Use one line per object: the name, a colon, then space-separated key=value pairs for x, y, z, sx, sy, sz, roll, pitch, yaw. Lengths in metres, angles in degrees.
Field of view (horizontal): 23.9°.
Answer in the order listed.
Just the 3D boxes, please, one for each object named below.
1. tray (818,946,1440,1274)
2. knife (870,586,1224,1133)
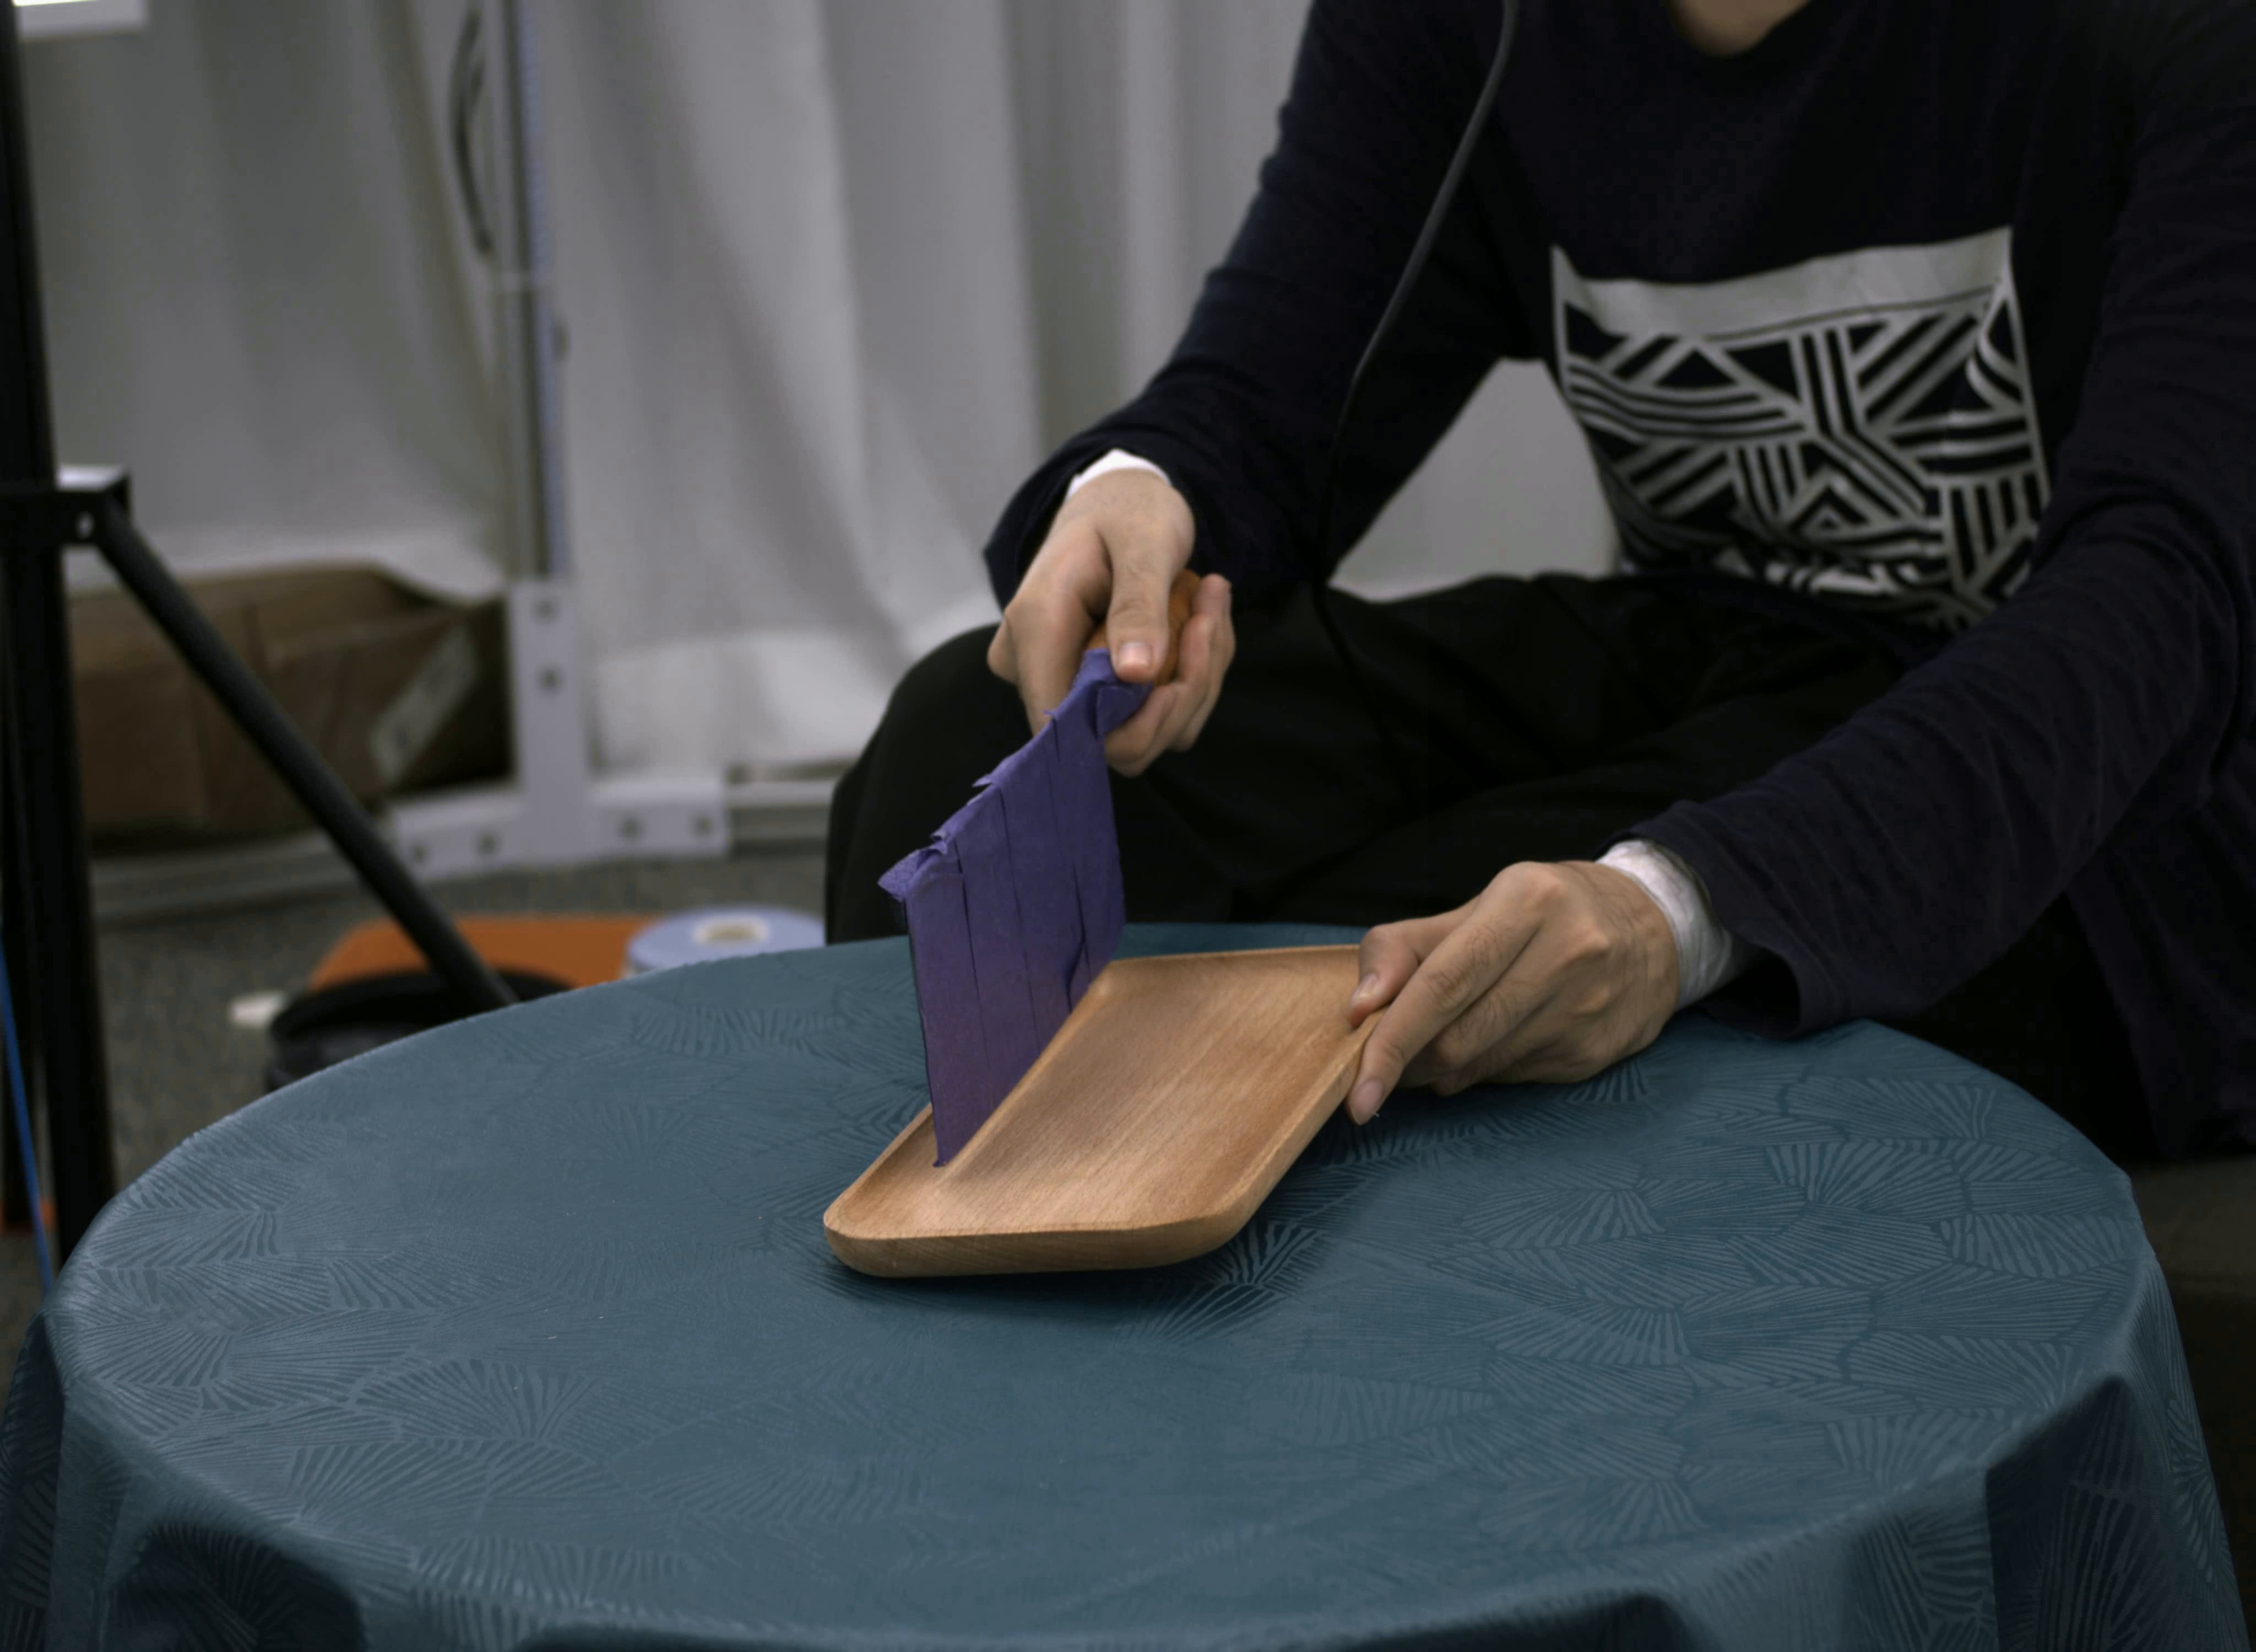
tray: x=0.005 y=0.083 z=1.586 sx=0.132 sy=0.023 sz=0.247 roll=-1 pitch=16 yaw=22
knife: x=-0.023 y=0.008 z=1.674 sx=0.032 sy=0.104 sz=0.312 roll=0 pitch=18 yaw=19
